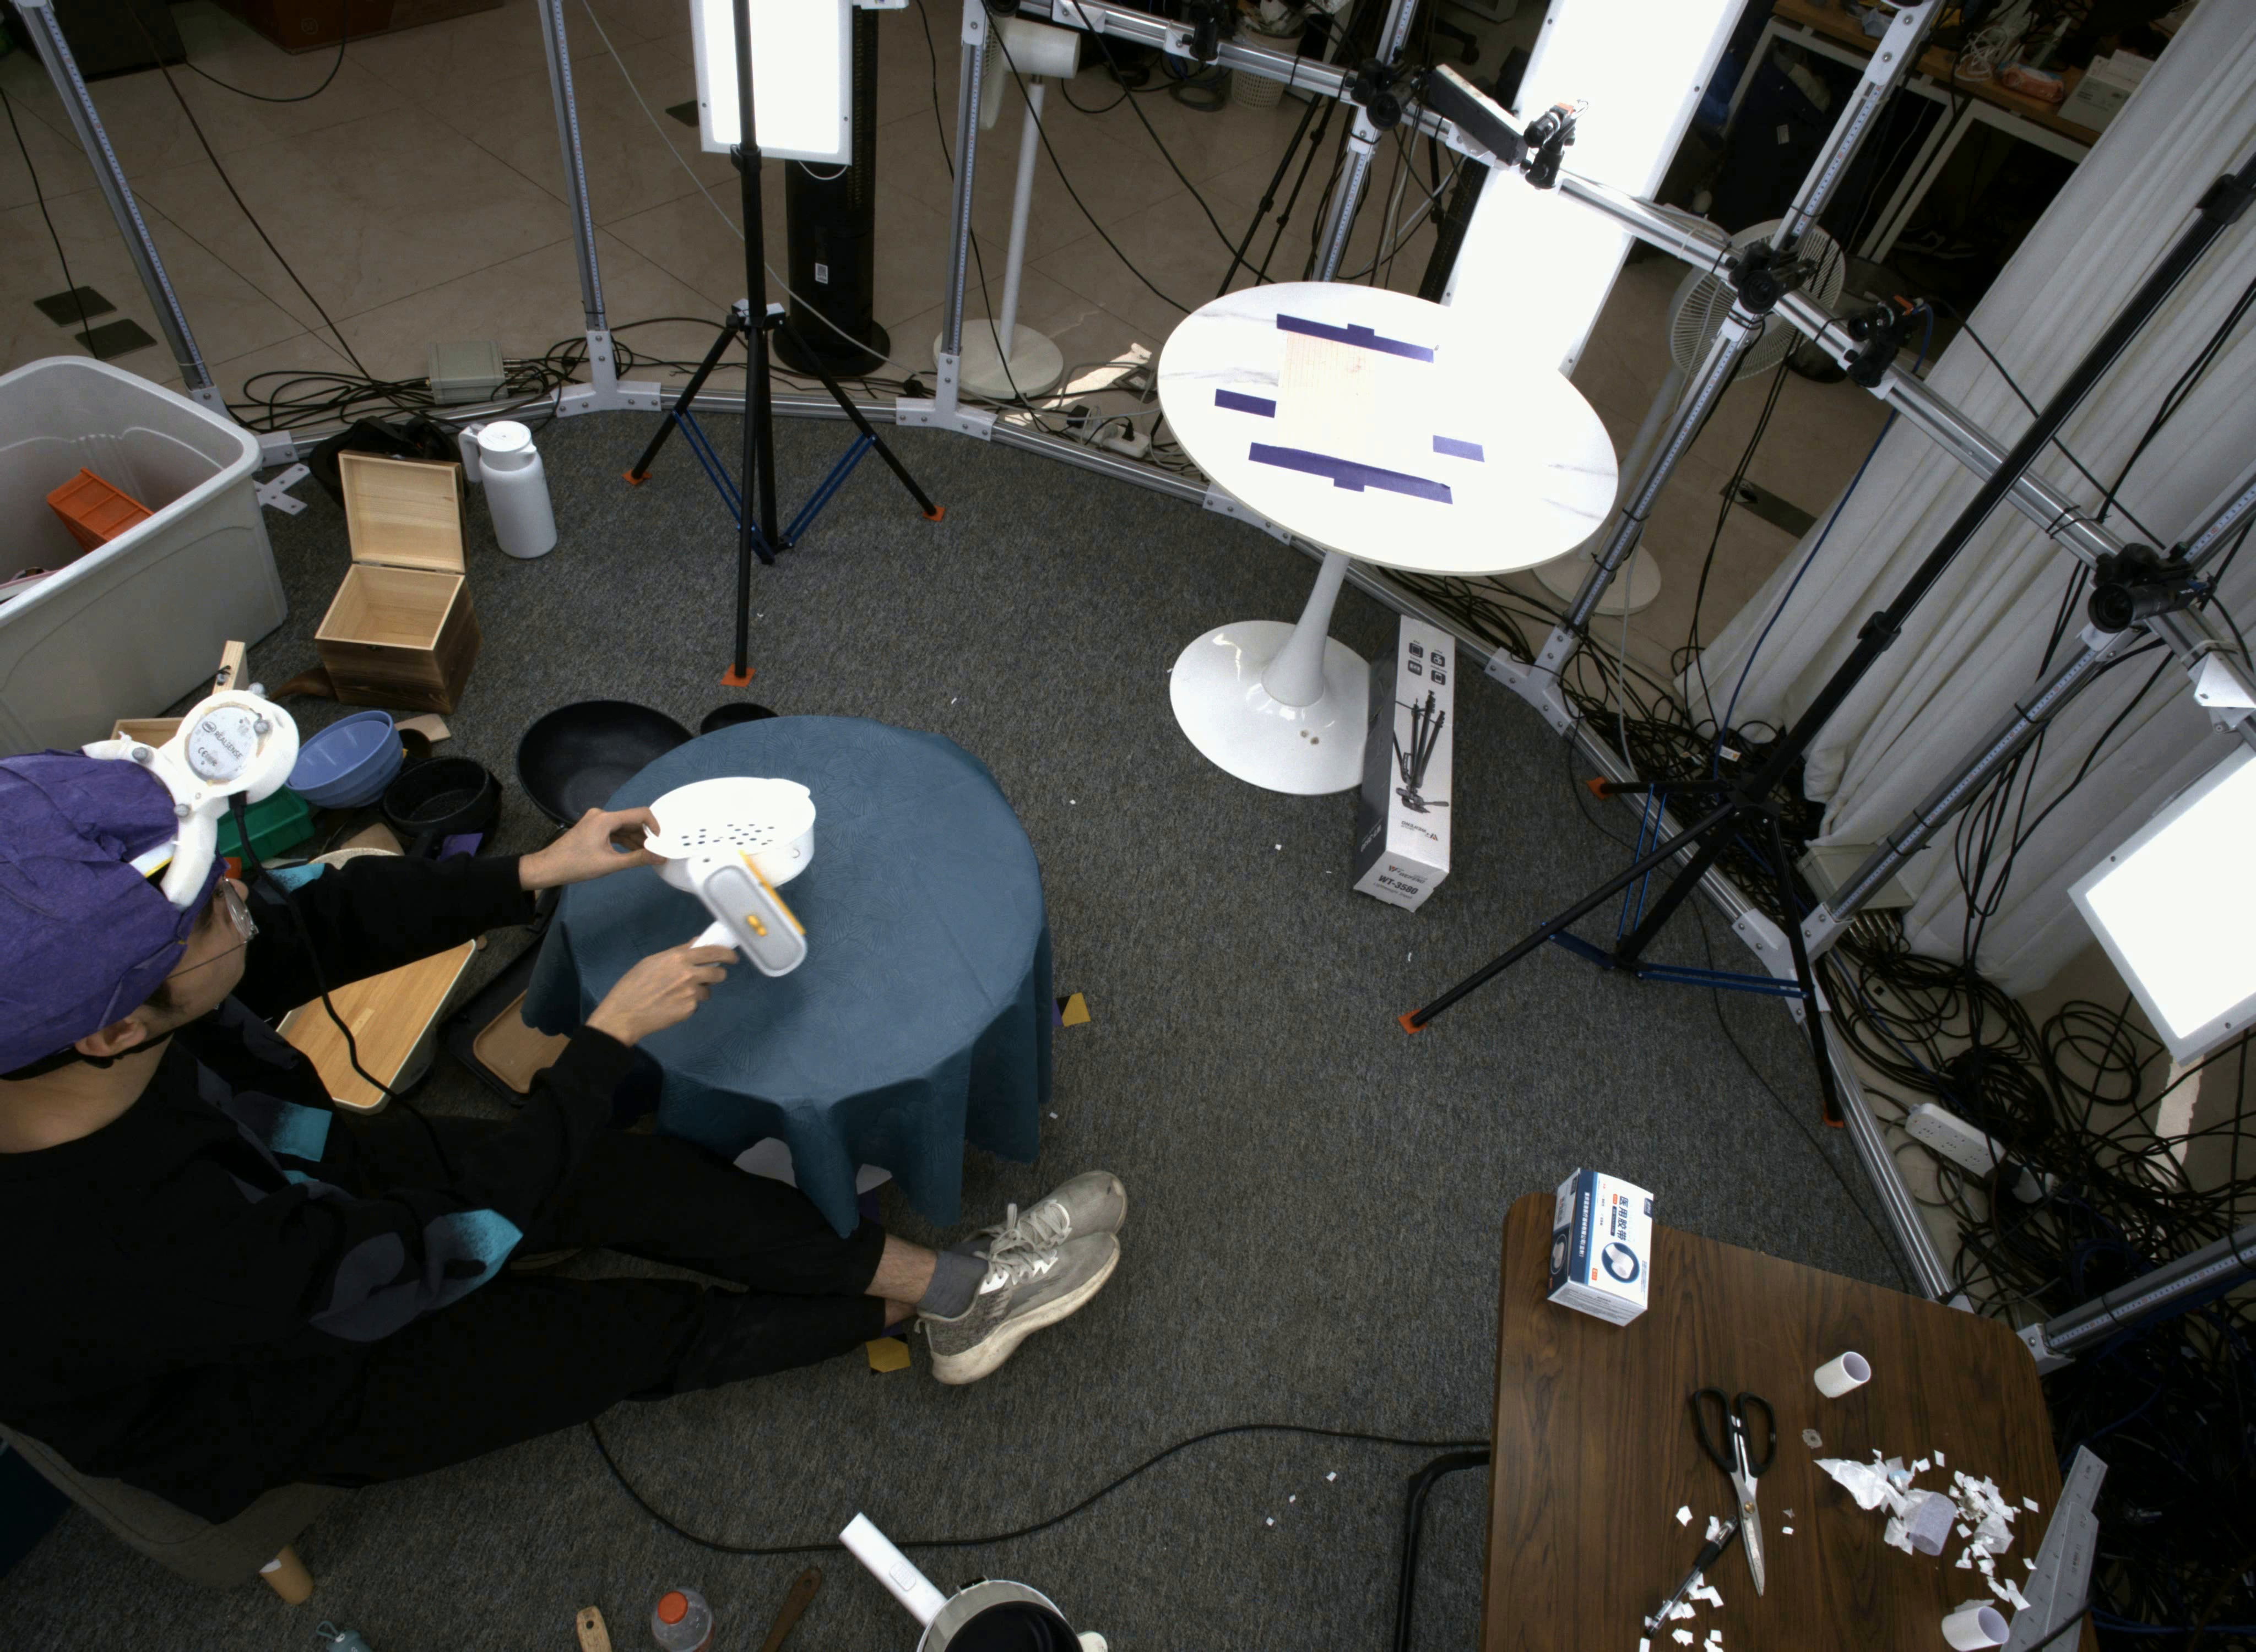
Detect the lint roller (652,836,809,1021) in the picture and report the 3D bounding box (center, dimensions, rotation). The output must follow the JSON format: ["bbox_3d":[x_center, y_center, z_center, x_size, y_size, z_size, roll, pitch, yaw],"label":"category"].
[{"bbox_3d":[-0.471,0.133,1.463,0.192,0.200,0.071,-45,49,-16],"label":"lint roller"}]

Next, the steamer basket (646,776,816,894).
[{"bbox_3d":[-0.478,0.011,1.569,0.195,0.071,0.231,18,32,25],"label":"steamer basket"}]
